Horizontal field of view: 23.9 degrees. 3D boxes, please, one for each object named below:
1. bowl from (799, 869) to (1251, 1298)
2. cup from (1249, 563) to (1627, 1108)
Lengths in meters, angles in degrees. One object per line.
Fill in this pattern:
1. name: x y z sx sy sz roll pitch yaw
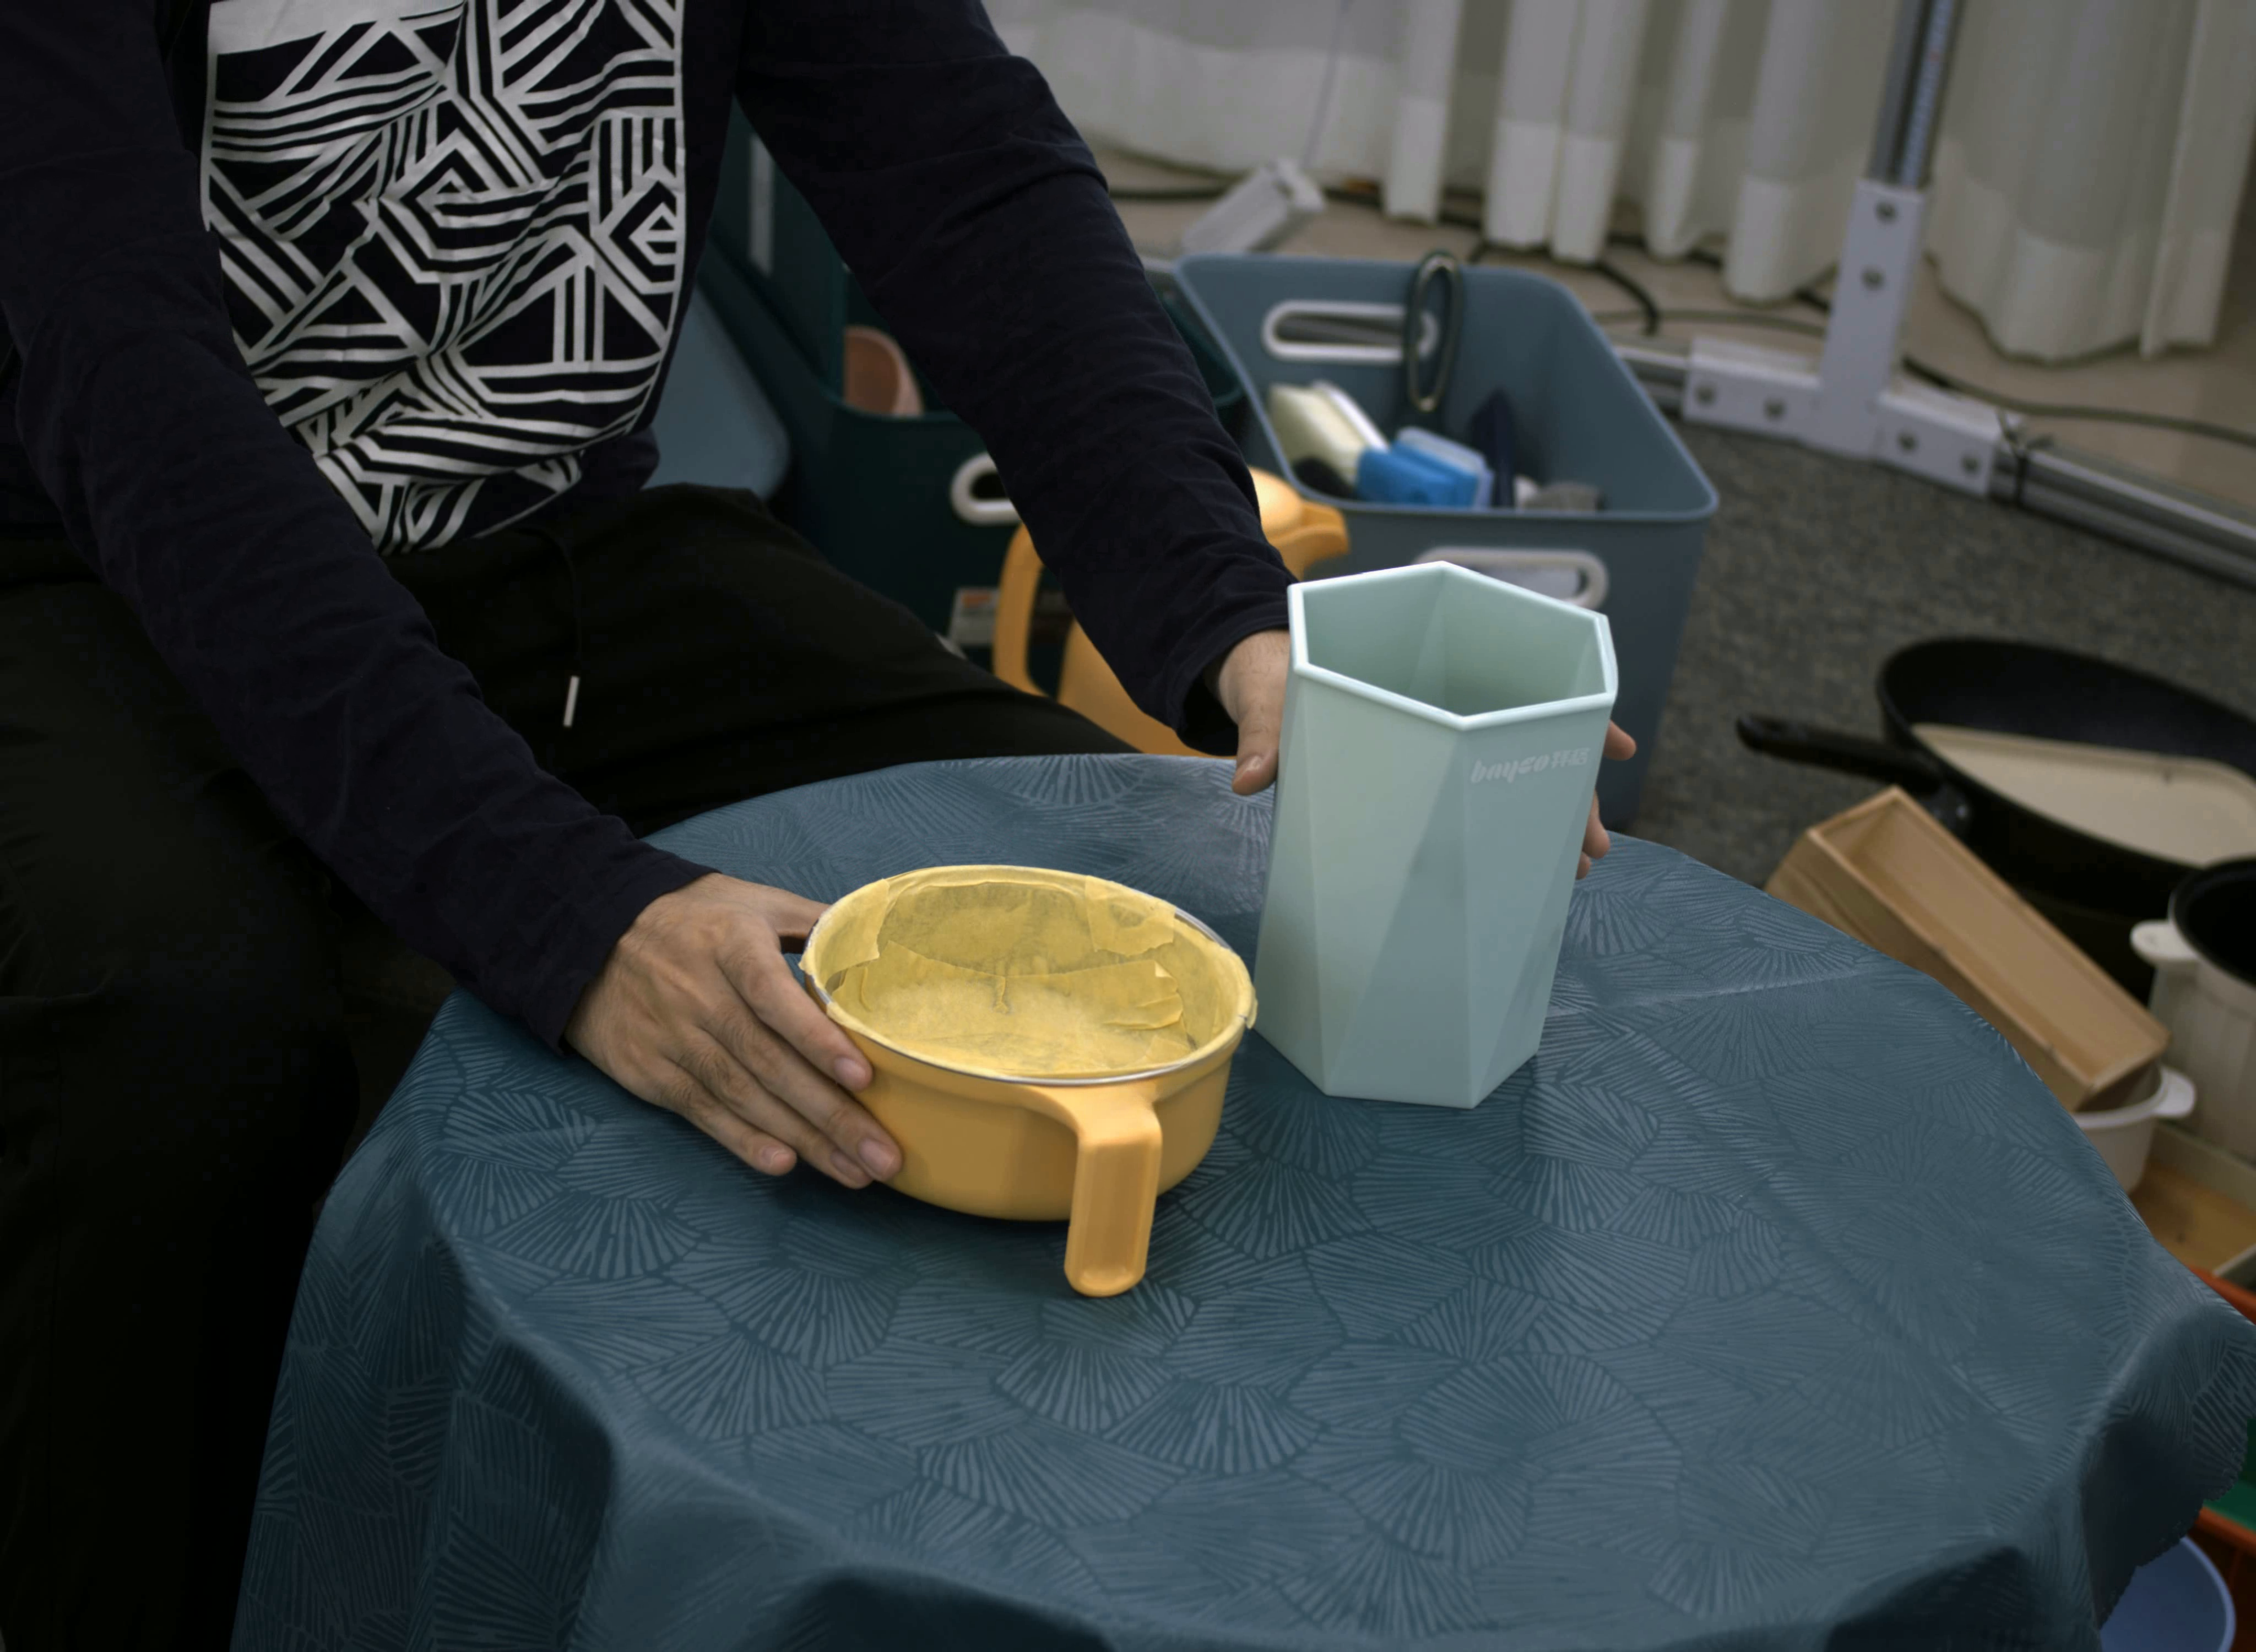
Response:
1. bowl: -0.033 0.085 1.803 0.152 0.074 0.181 -6 27 -22
2. cup: 0.105 0.006 1.882 0.130 0.162 0.116 -10 29 -32
